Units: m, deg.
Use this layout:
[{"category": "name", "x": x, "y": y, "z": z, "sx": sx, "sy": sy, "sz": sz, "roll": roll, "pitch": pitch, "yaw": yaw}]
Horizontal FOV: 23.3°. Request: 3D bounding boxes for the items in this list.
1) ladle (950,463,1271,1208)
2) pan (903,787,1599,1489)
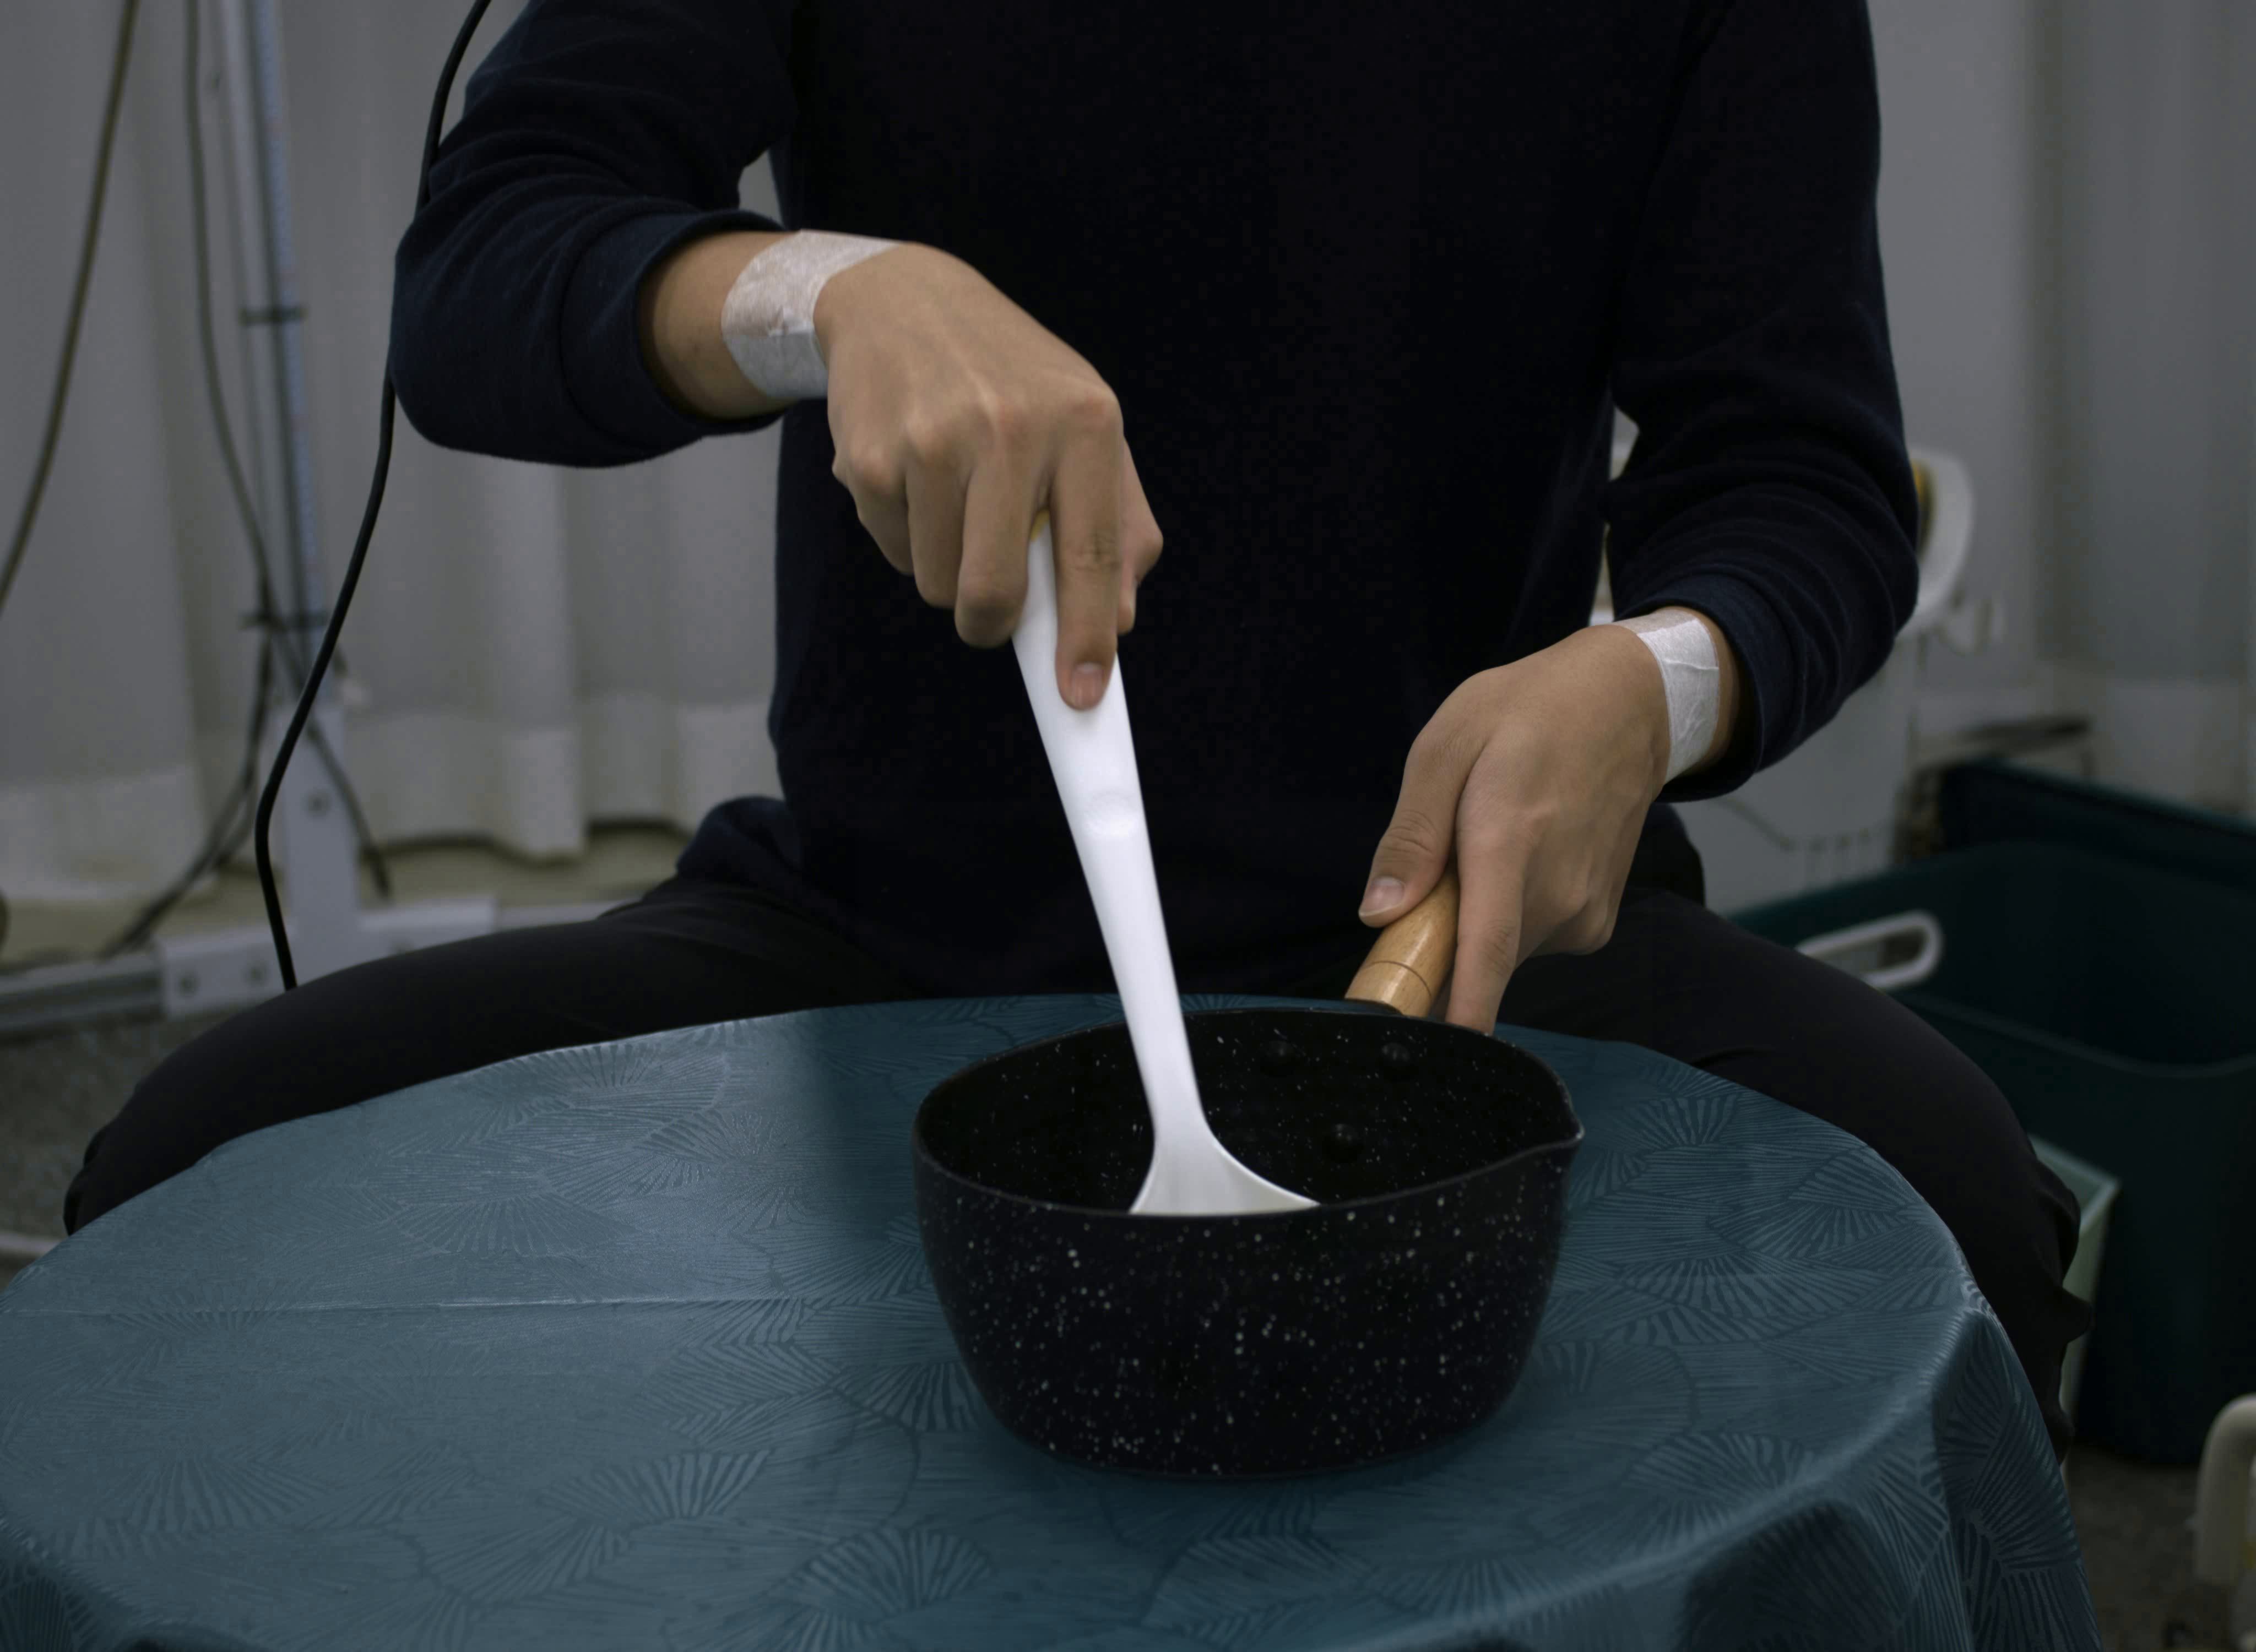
[{"category": "ladle", "x": -0.007, "y": 0.027, "z": 1.572, "sx": 0.090, "sy": 0.296, "sz": 0.069, "roll": -14, "pitch": -19, "yaw": 1}, {"category": "pan", "x": 0.058, "y": 0.086, "z": 1.604, "sx": 0.207, "sy": 0.108, "sz": 0.344, "roll": 1, "pitch": 17, "yaw": 20}]
